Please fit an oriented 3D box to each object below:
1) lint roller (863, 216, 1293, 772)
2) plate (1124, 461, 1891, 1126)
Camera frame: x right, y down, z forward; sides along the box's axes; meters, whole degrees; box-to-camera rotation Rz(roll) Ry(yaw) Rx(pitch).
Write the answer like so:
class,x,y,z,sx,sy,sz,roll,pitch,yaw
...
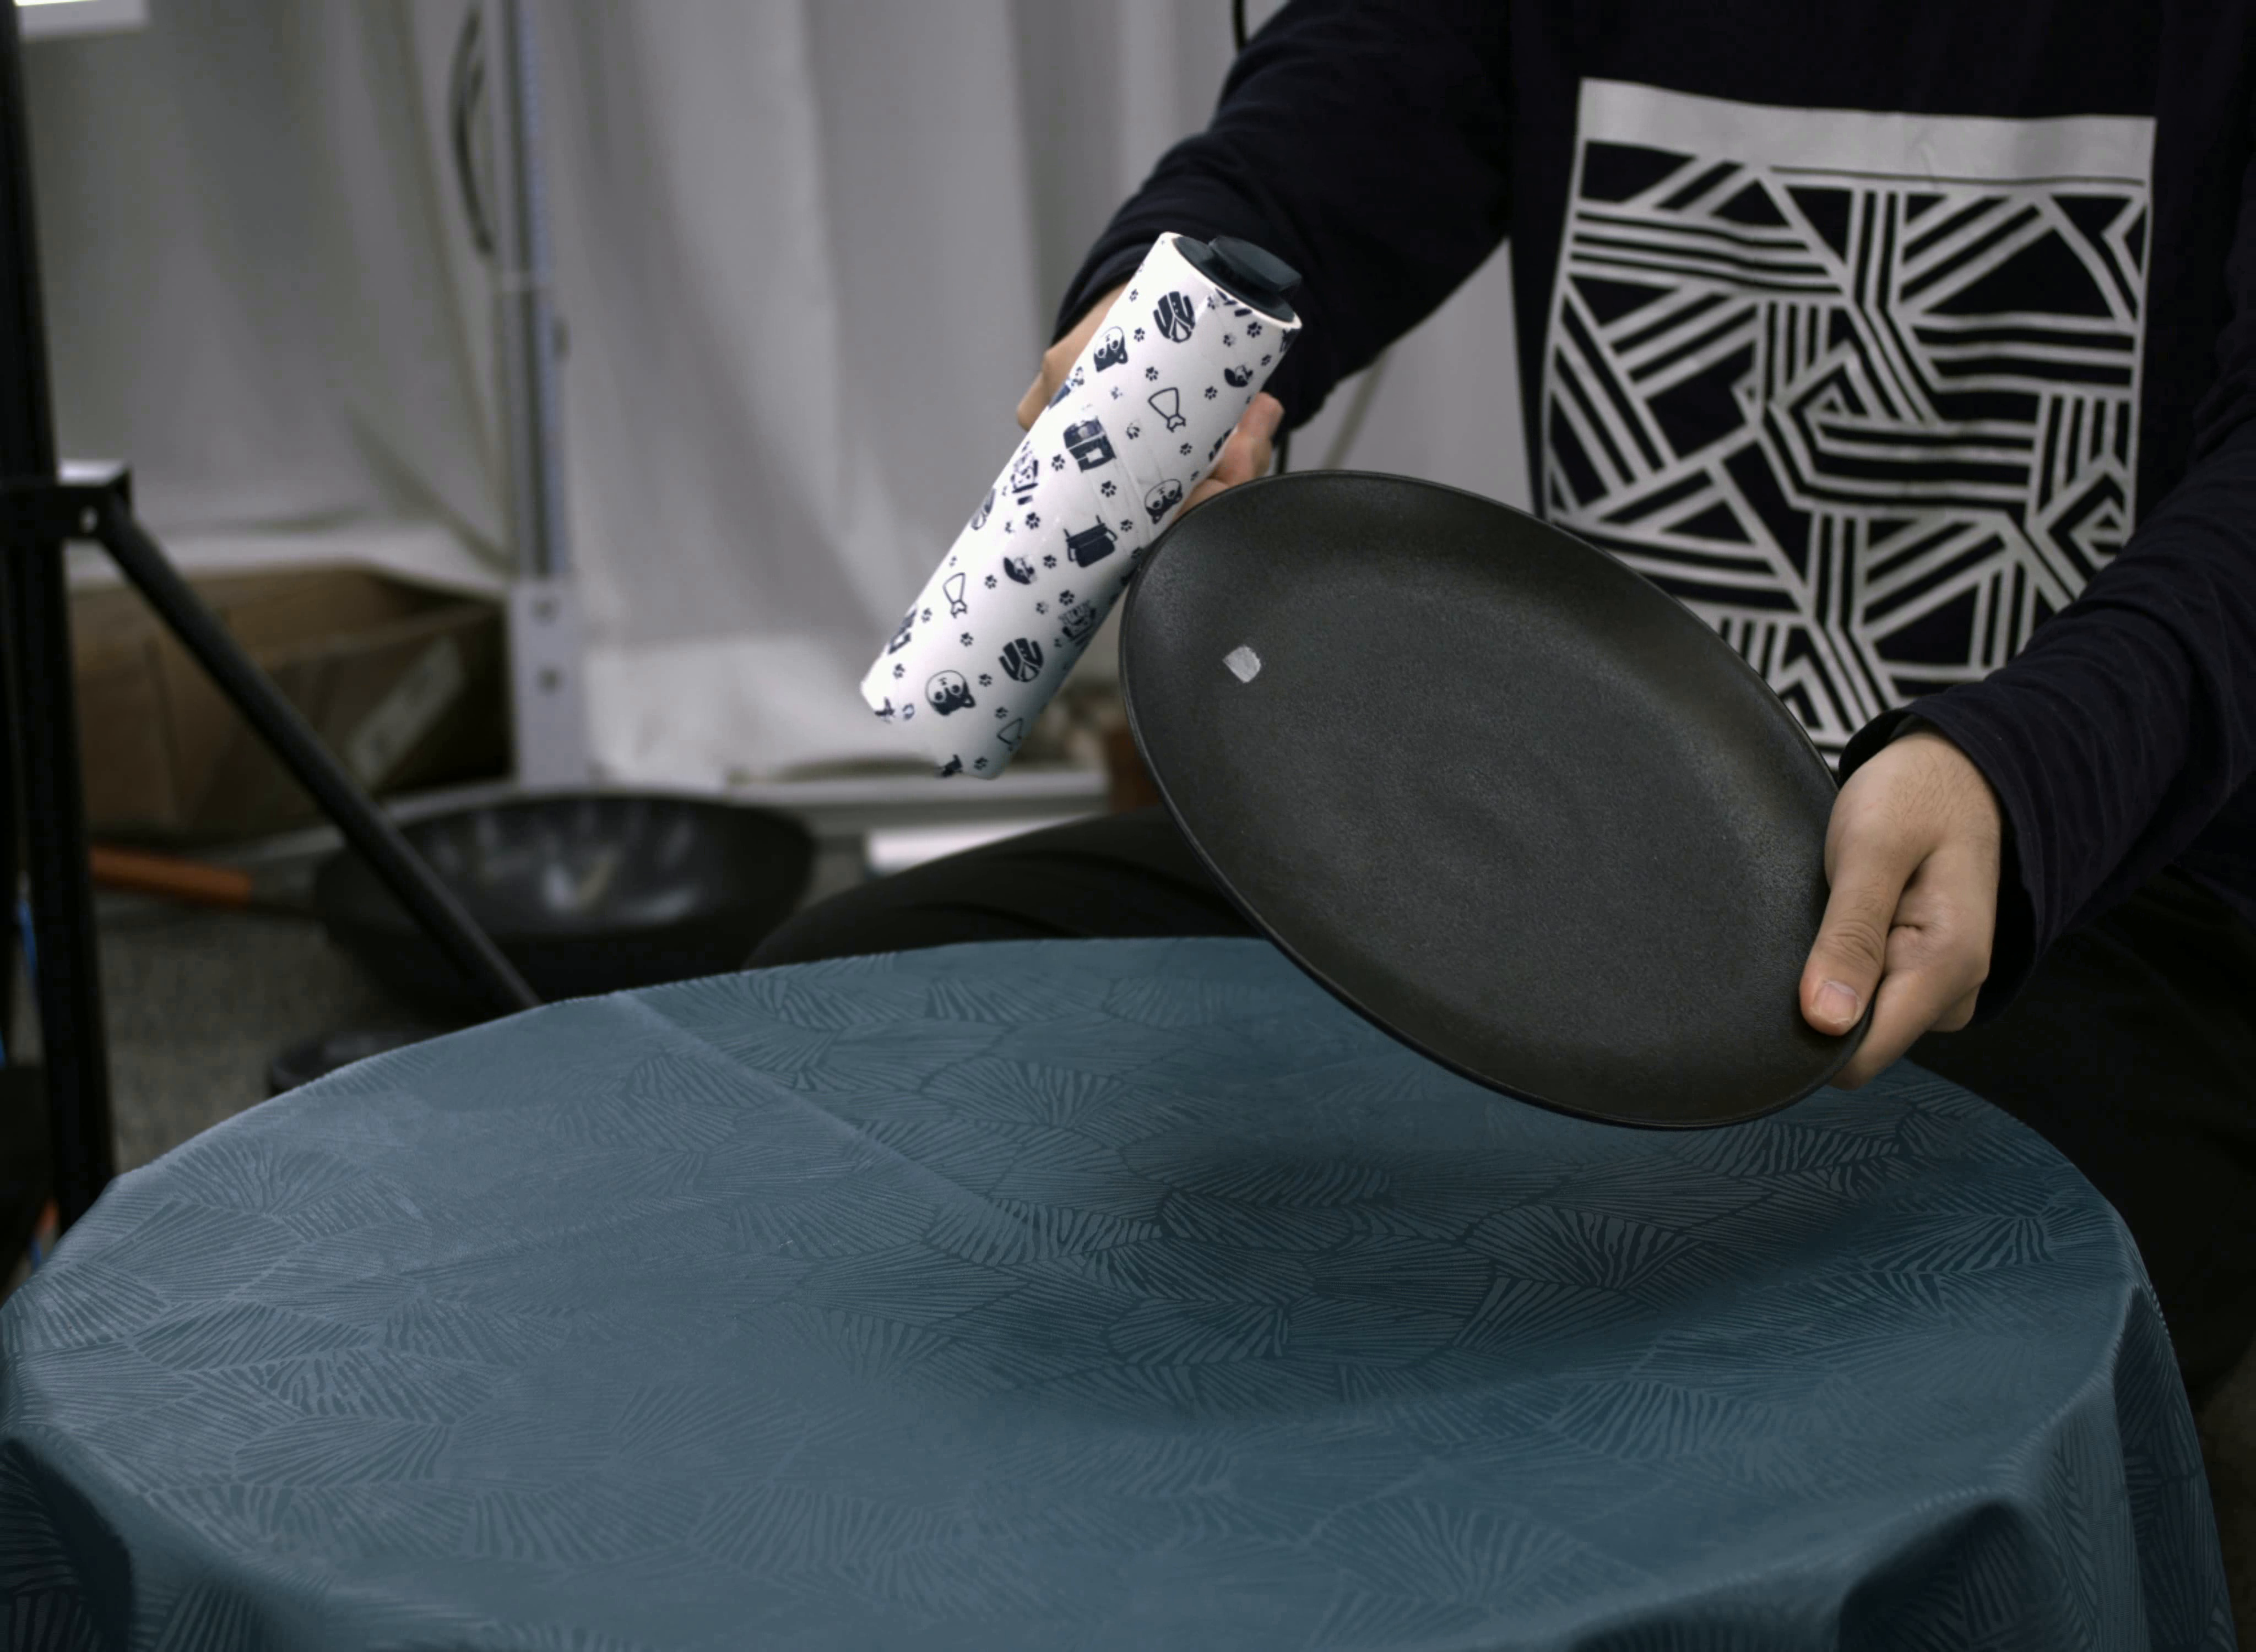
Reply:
class,x,y,z,sx,sy,sz,roll,pitch,yaw
lint roller,0.004,-0.110,1.605,0.050,0.177,0.245,35,15,3
plate,0.105,-0.007,1.499,0.240,0.023,0.247,17,42,-17
